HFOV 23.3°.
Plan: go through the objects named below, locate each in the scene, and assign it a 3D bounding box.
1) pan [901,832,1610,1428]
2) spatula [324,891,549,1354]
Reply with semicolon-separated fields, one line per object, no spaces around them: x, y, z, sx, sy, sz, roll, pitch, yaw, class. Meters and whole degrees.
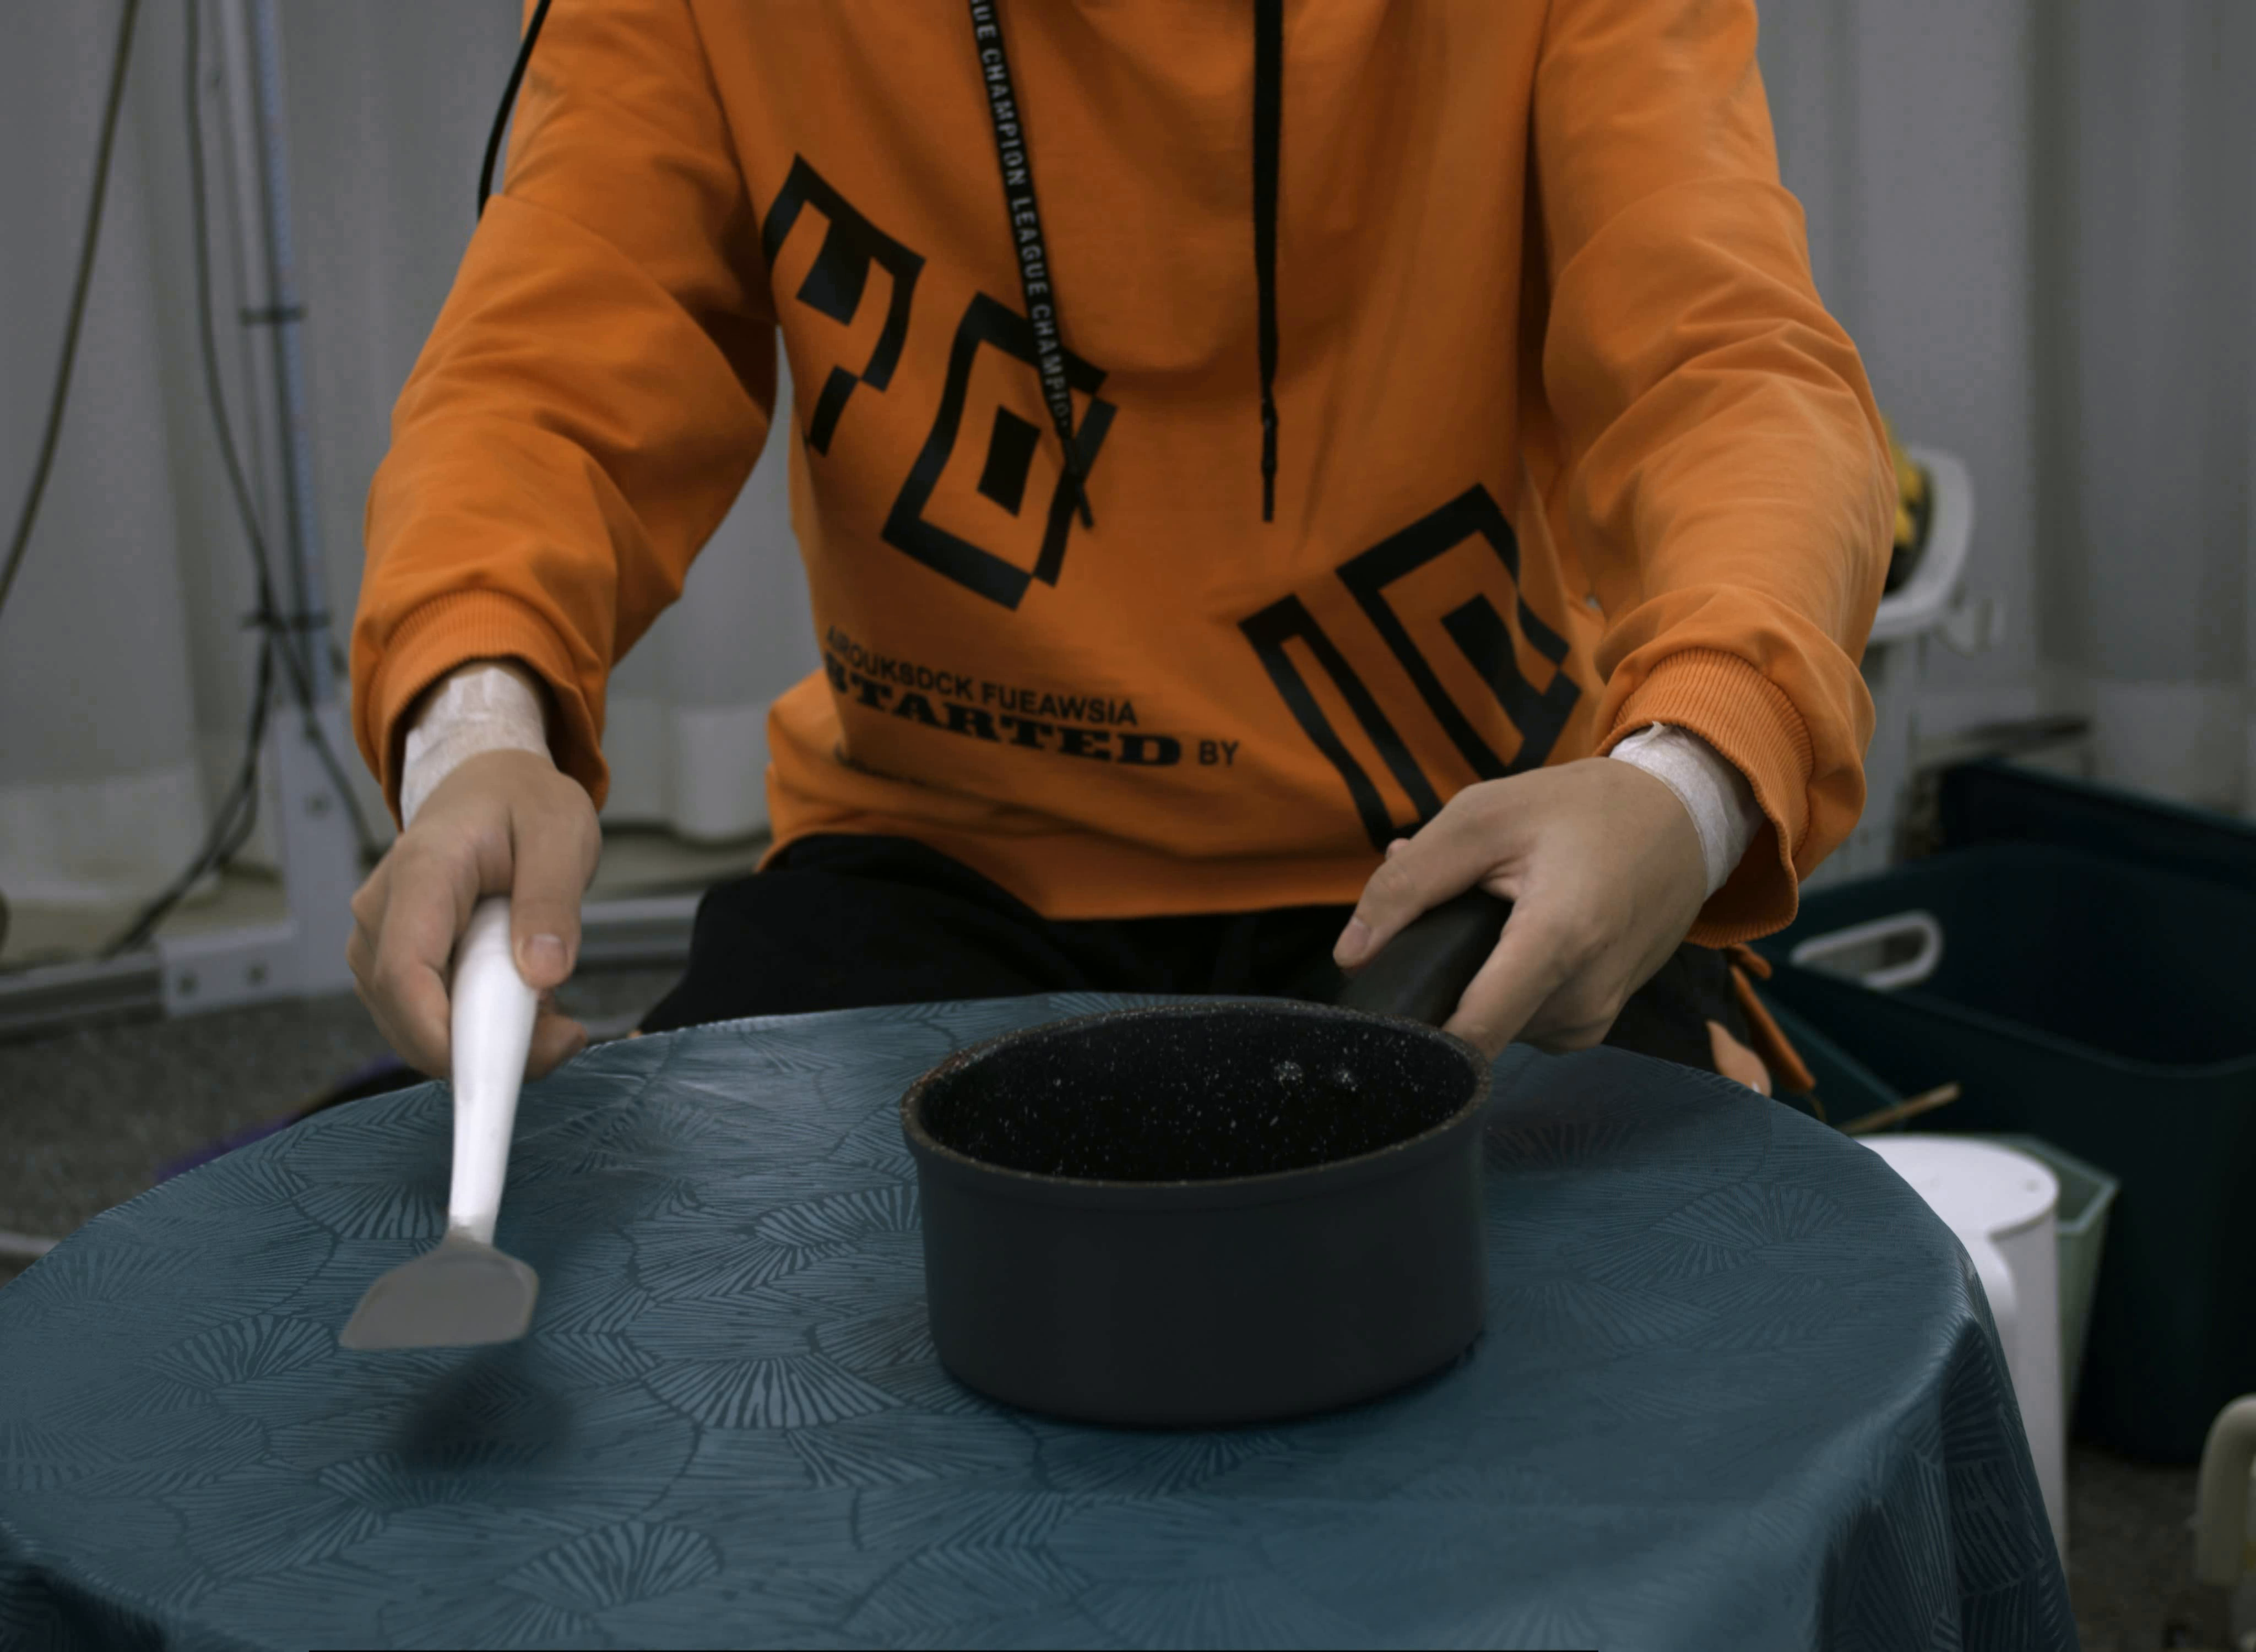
0.061;0.087;1.642;0.172;0.086;0.329;6;19;29;pan
-0.197;0.093;1.635;0.058;0.032;0.291;0;24;-2;spatula
